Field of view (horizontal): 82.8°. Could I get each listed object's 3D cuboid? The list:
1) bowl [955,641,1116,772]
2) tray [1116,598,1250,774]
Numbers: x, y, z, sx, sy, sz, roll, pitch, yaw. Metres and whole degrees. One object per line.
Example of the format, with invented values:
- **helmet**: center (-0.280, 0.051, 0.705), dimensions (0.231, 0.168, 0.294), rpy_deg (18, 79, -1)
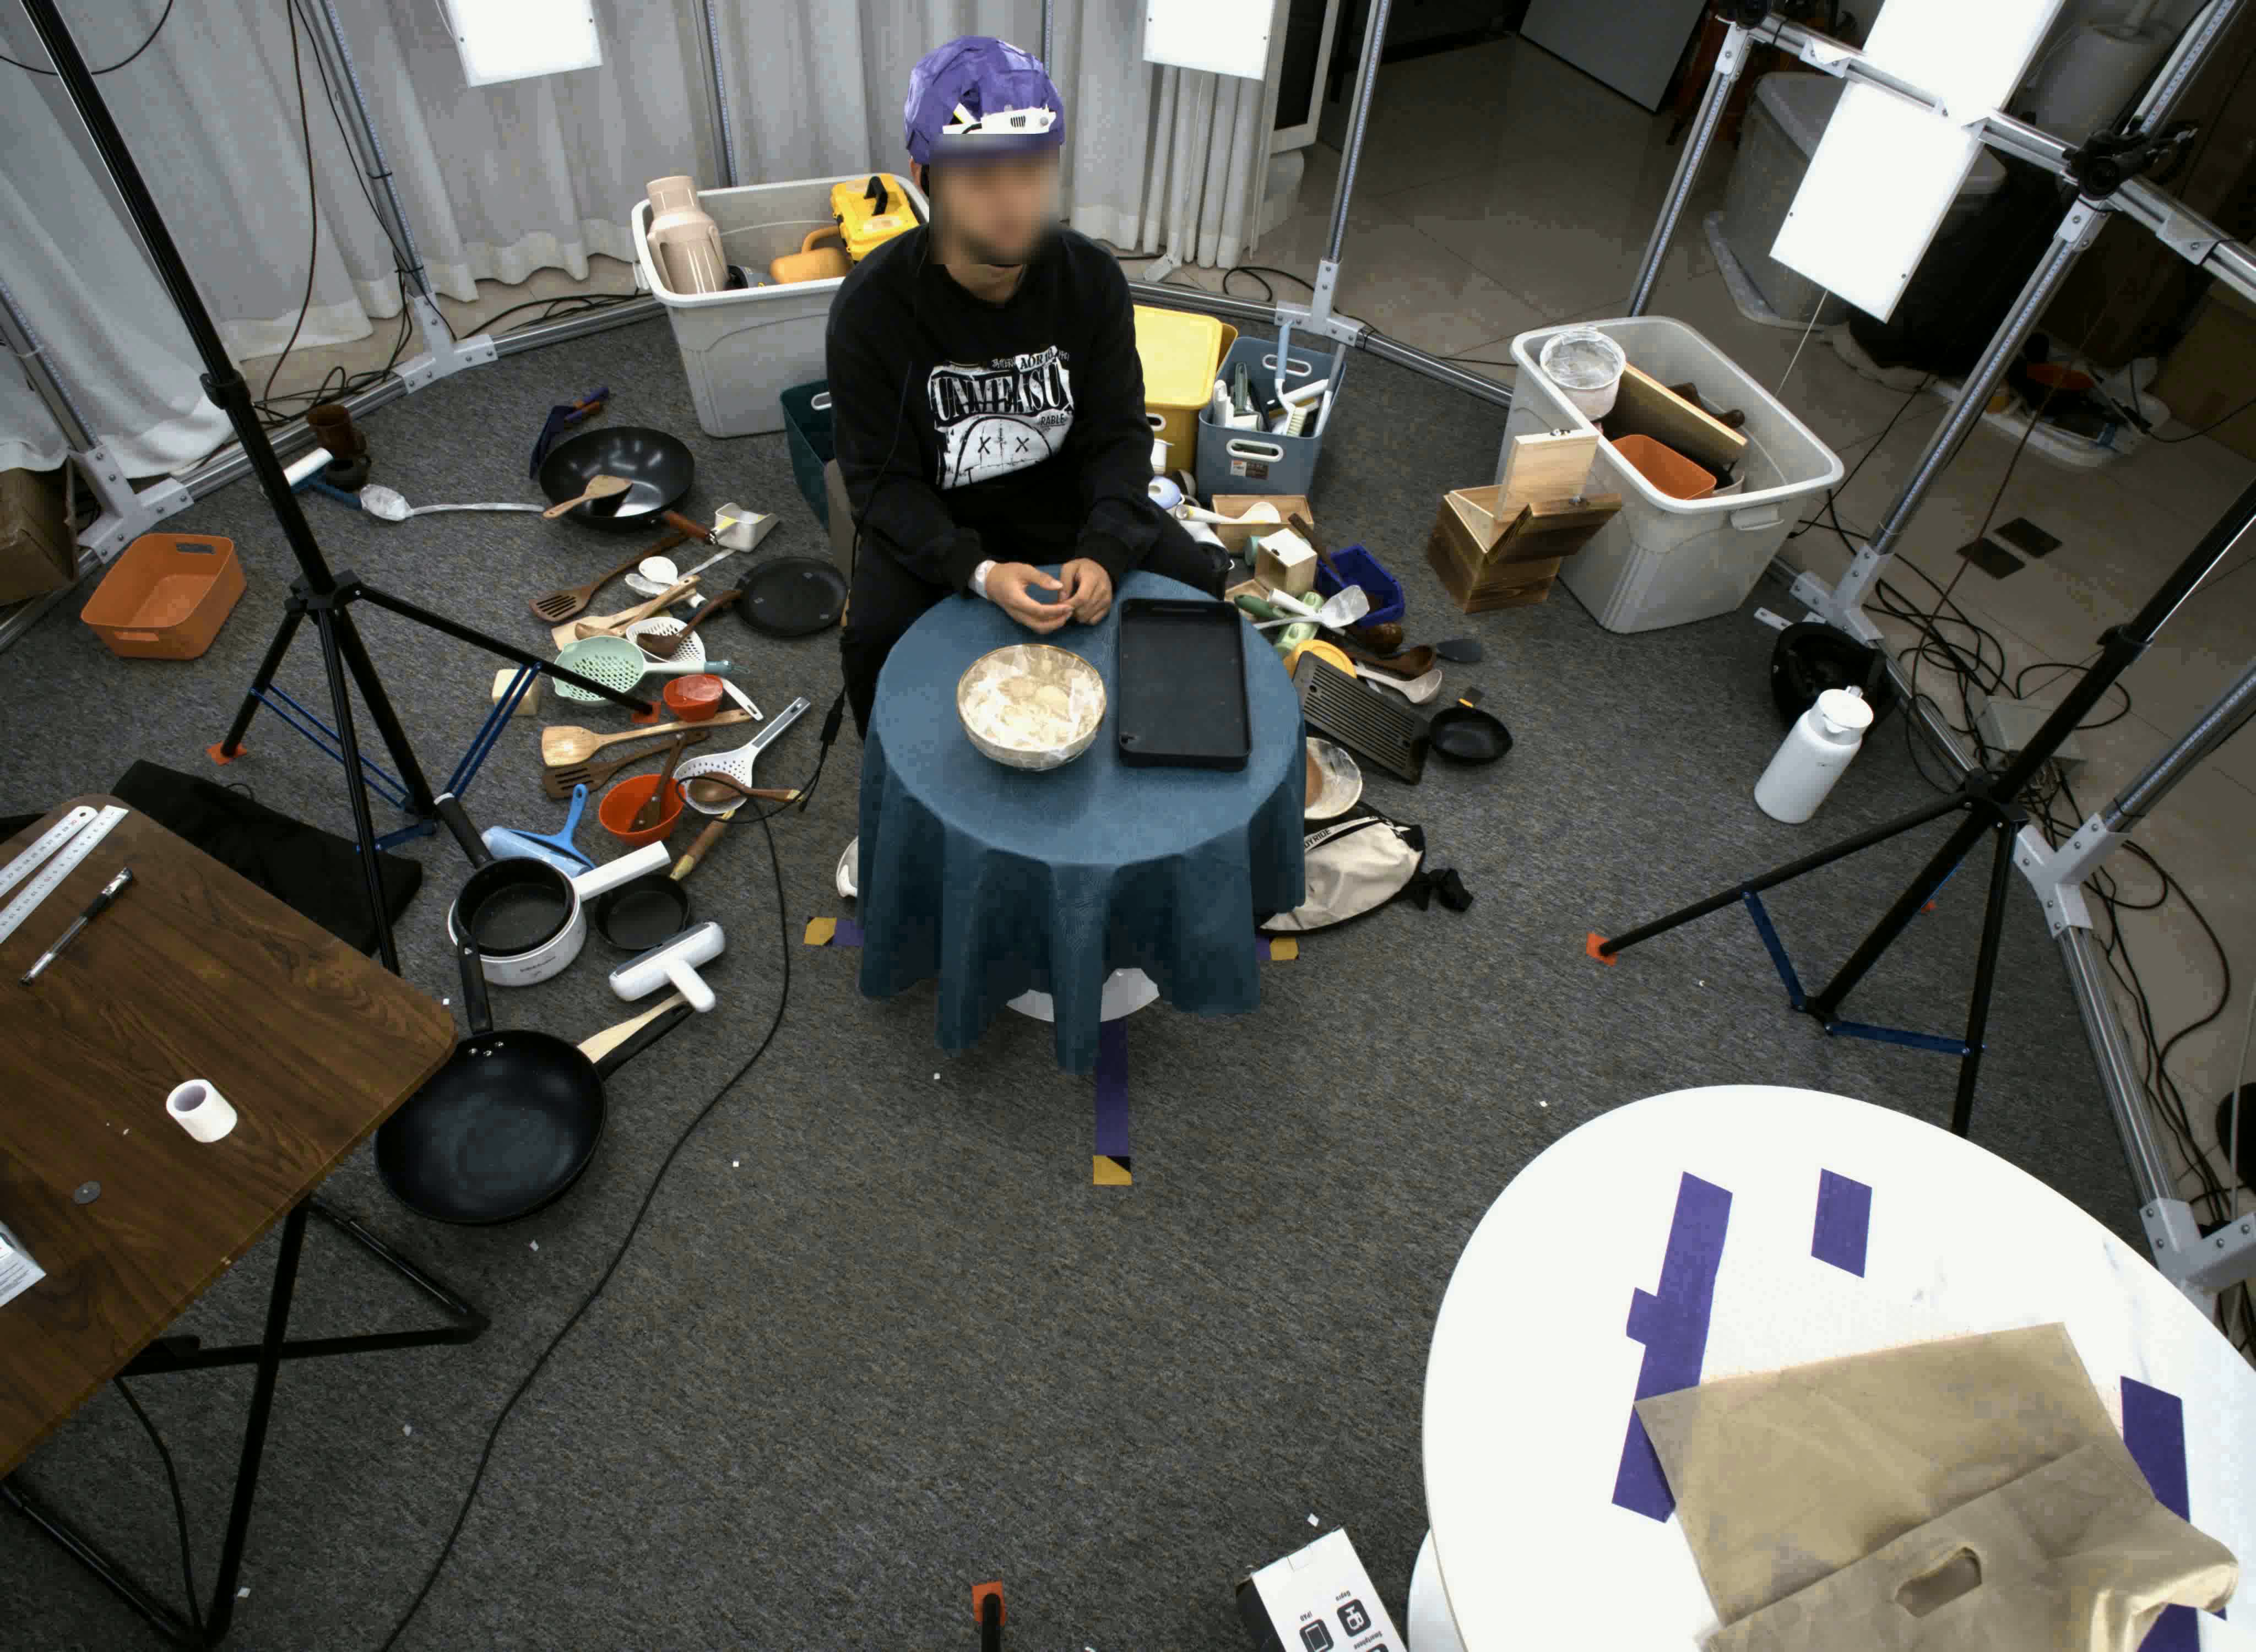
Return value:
- **bowl**: center (-0.126, -0.147, 1.744), dimensions (0.214, 0.092, 0.220), rpy_deg (1, 49, -1)
- **tray**: center (0.077, -0.206, 1.848), dimensions (0.184, 0.036, 0.326), rpy_deg (3, 50, -1)
